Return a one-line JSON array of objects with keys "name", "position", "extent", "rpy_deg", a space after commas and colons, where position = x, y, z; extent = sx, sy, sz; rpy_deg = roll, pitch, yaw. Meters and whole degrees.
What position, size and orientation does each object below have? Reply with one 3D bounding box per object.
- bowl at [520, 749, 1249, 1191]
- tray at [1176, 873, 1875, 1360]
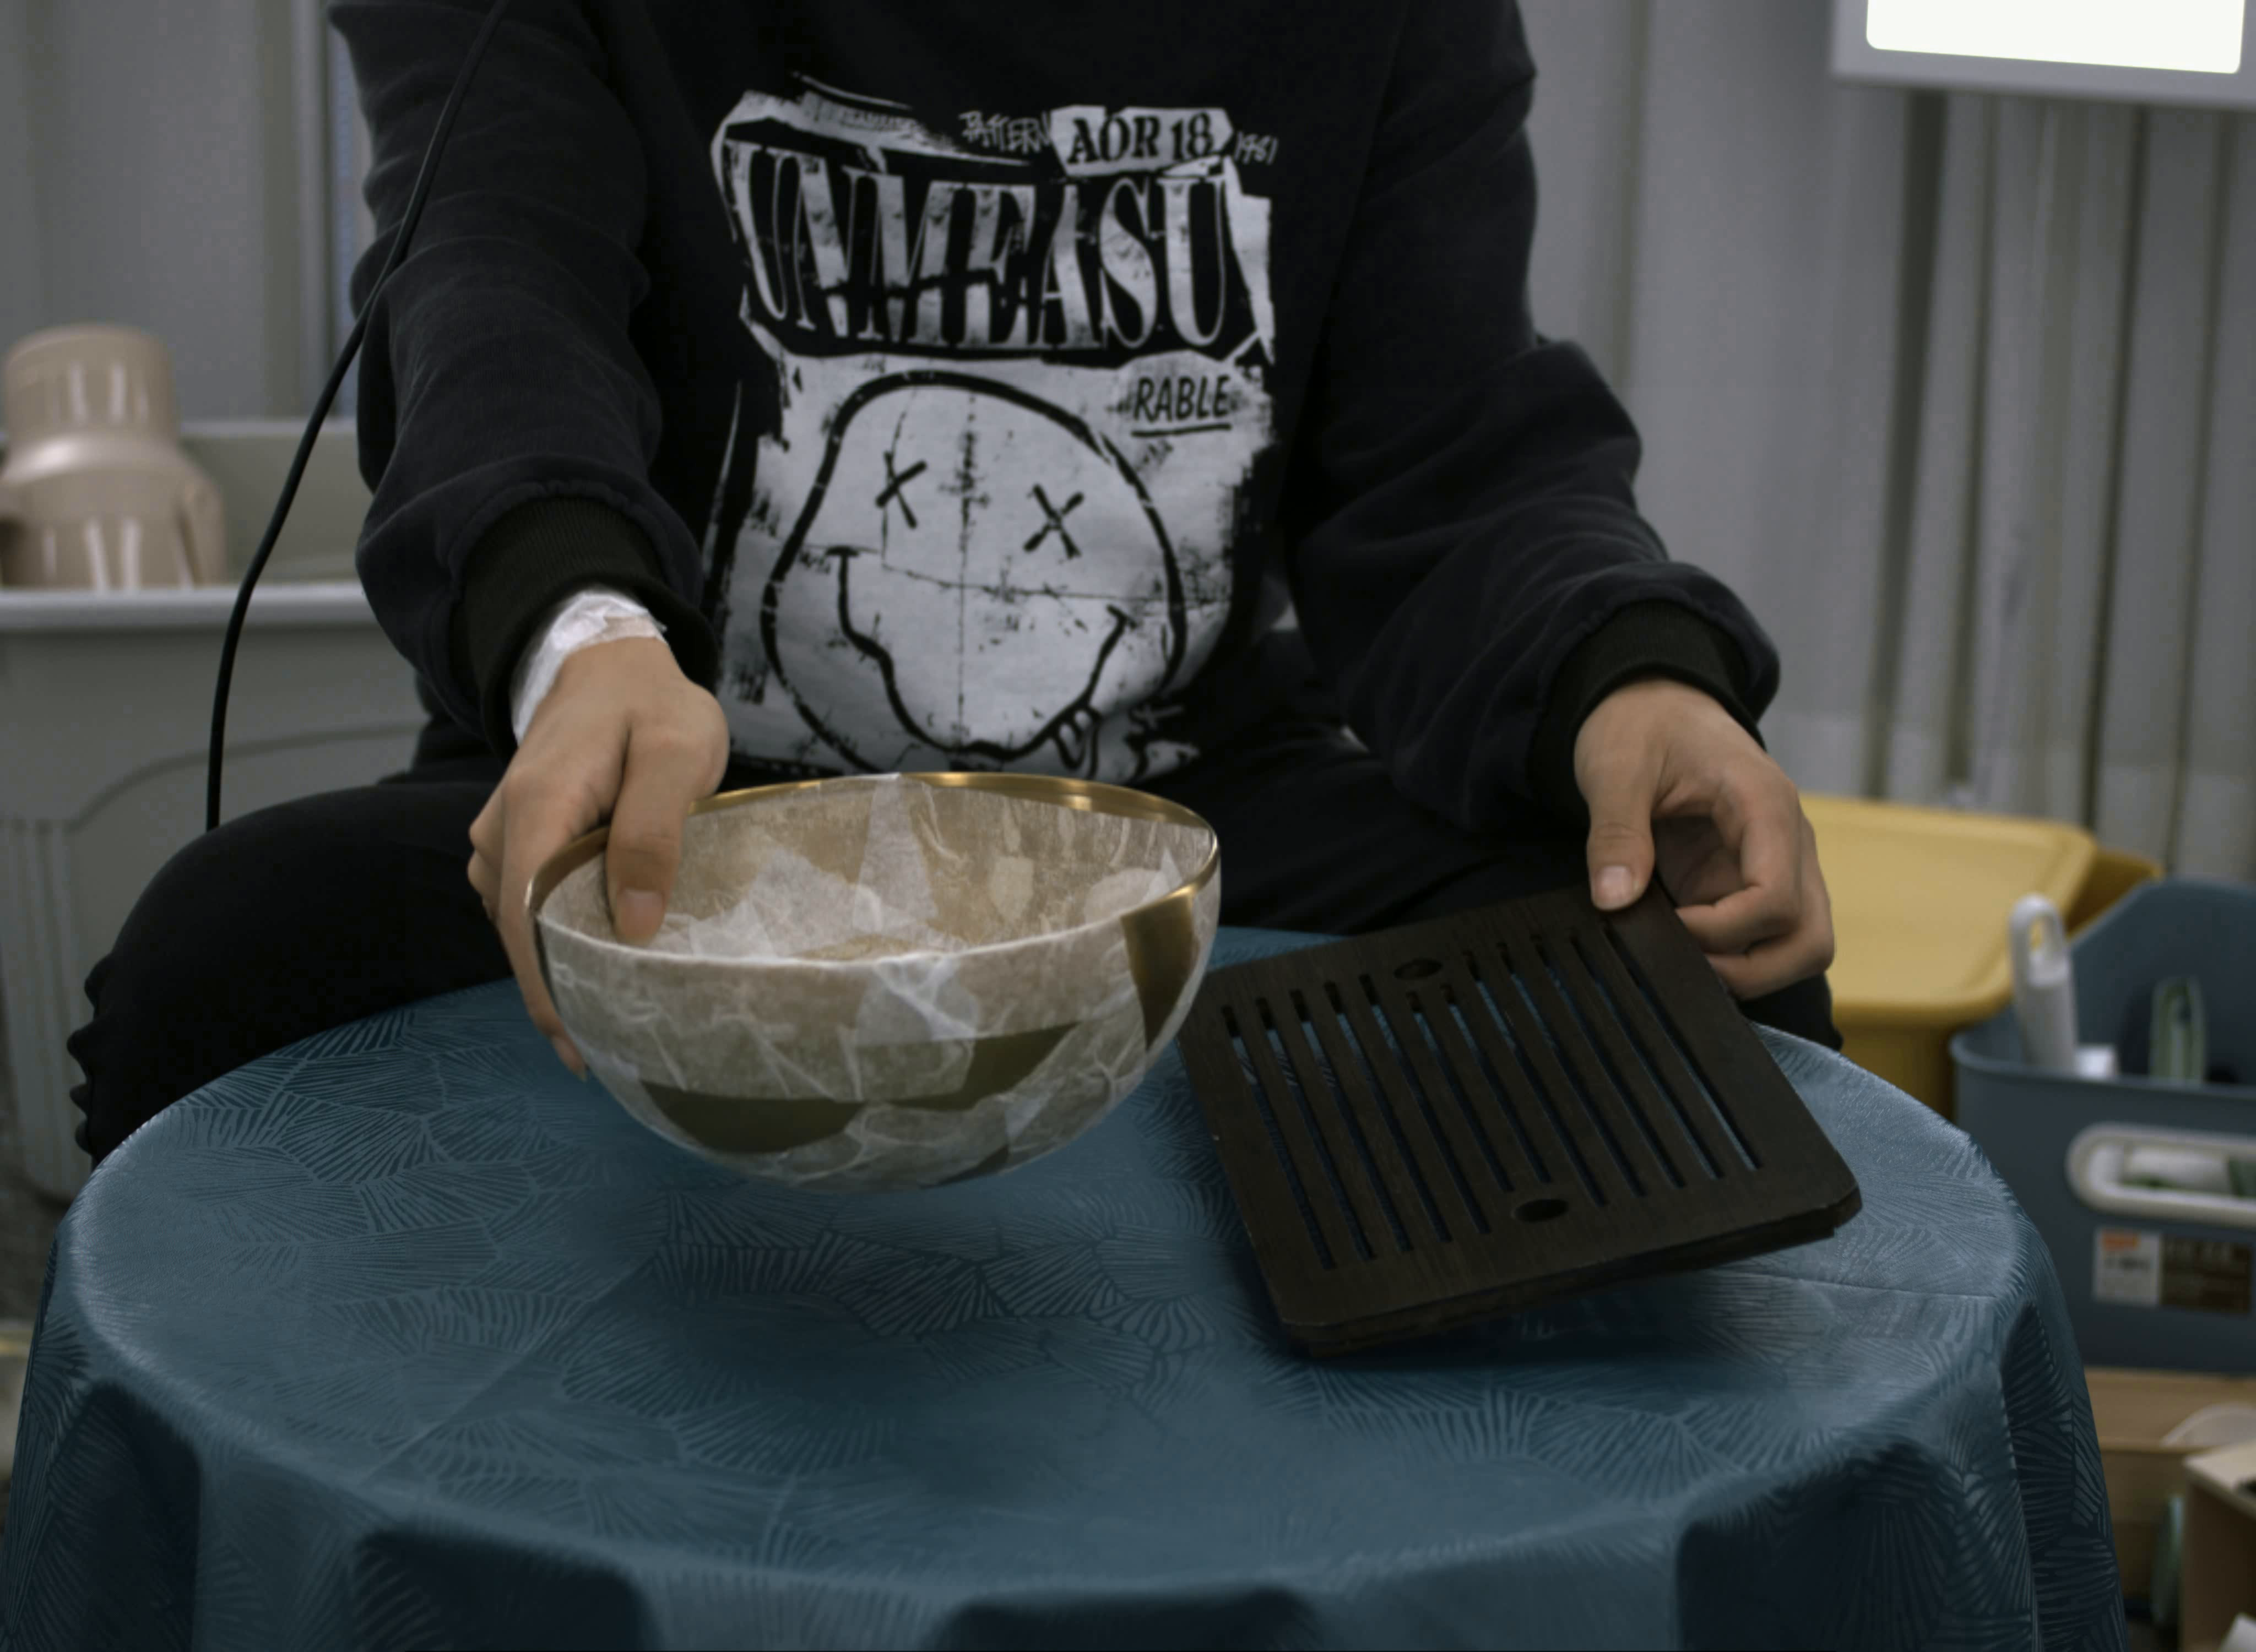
[{"name": "bowl", "position": [-0.067, 0.050, 1.518], "extent": [0.214, 0.095, 0.213], "rpy_deg": [-3, 16, 1]}, {"name": "tray", "position": [0.113, 0.085, 1.621], "extent": [0.170, 0.019, 0.303], "rpy_deg": [-12, 19, -3]}]
